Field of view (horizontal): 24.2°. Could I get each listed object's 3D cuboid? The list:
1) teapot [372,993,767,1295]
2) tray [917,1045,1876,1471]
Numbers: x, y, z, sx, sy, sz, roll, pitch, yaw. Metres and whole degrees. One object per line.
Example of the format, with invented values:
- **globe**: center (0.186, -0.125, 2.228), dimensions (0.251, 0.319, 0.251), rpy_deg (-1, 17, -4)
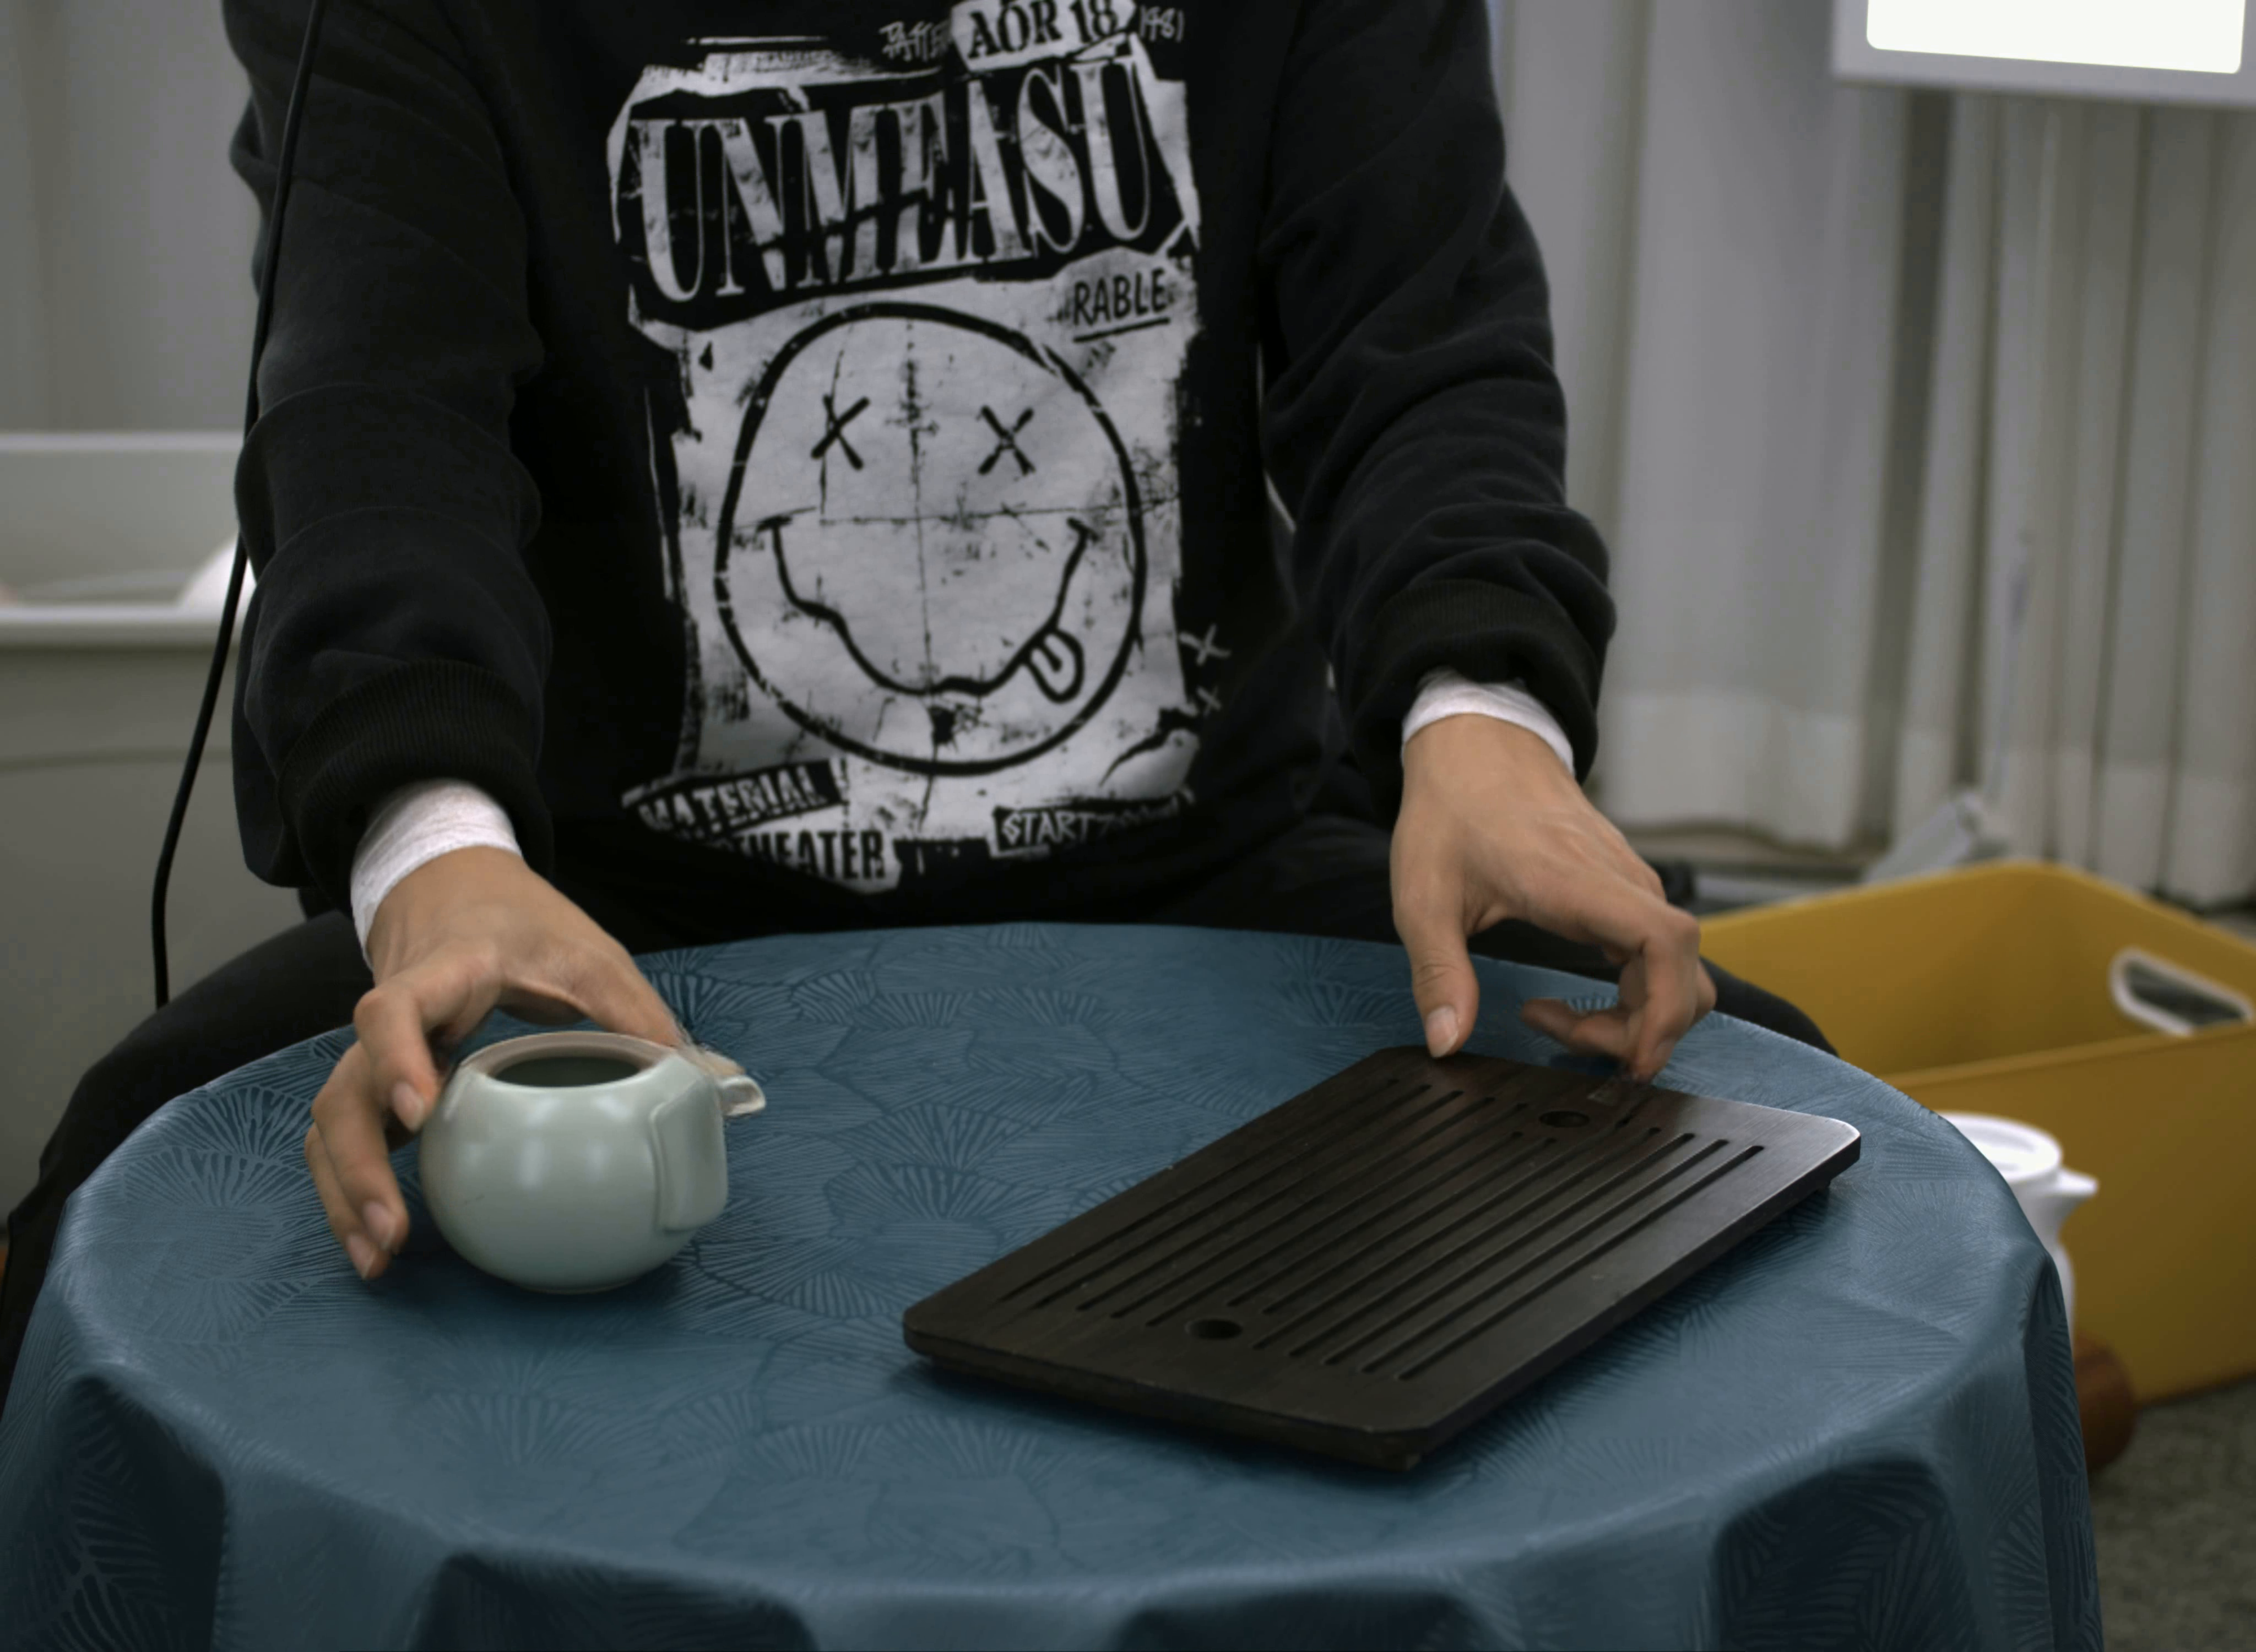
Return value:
- **teapot**: center (-0.164, 0.096, 1.541), dimensions (0.142, 0.075, 0.088), rpy_deg (13, 20, 33)
- **tray**: center (0.086, 0.123, 1.552), dimensions (0.168, 0.019, 0.307), rpy_deg (9, 18, 30)
